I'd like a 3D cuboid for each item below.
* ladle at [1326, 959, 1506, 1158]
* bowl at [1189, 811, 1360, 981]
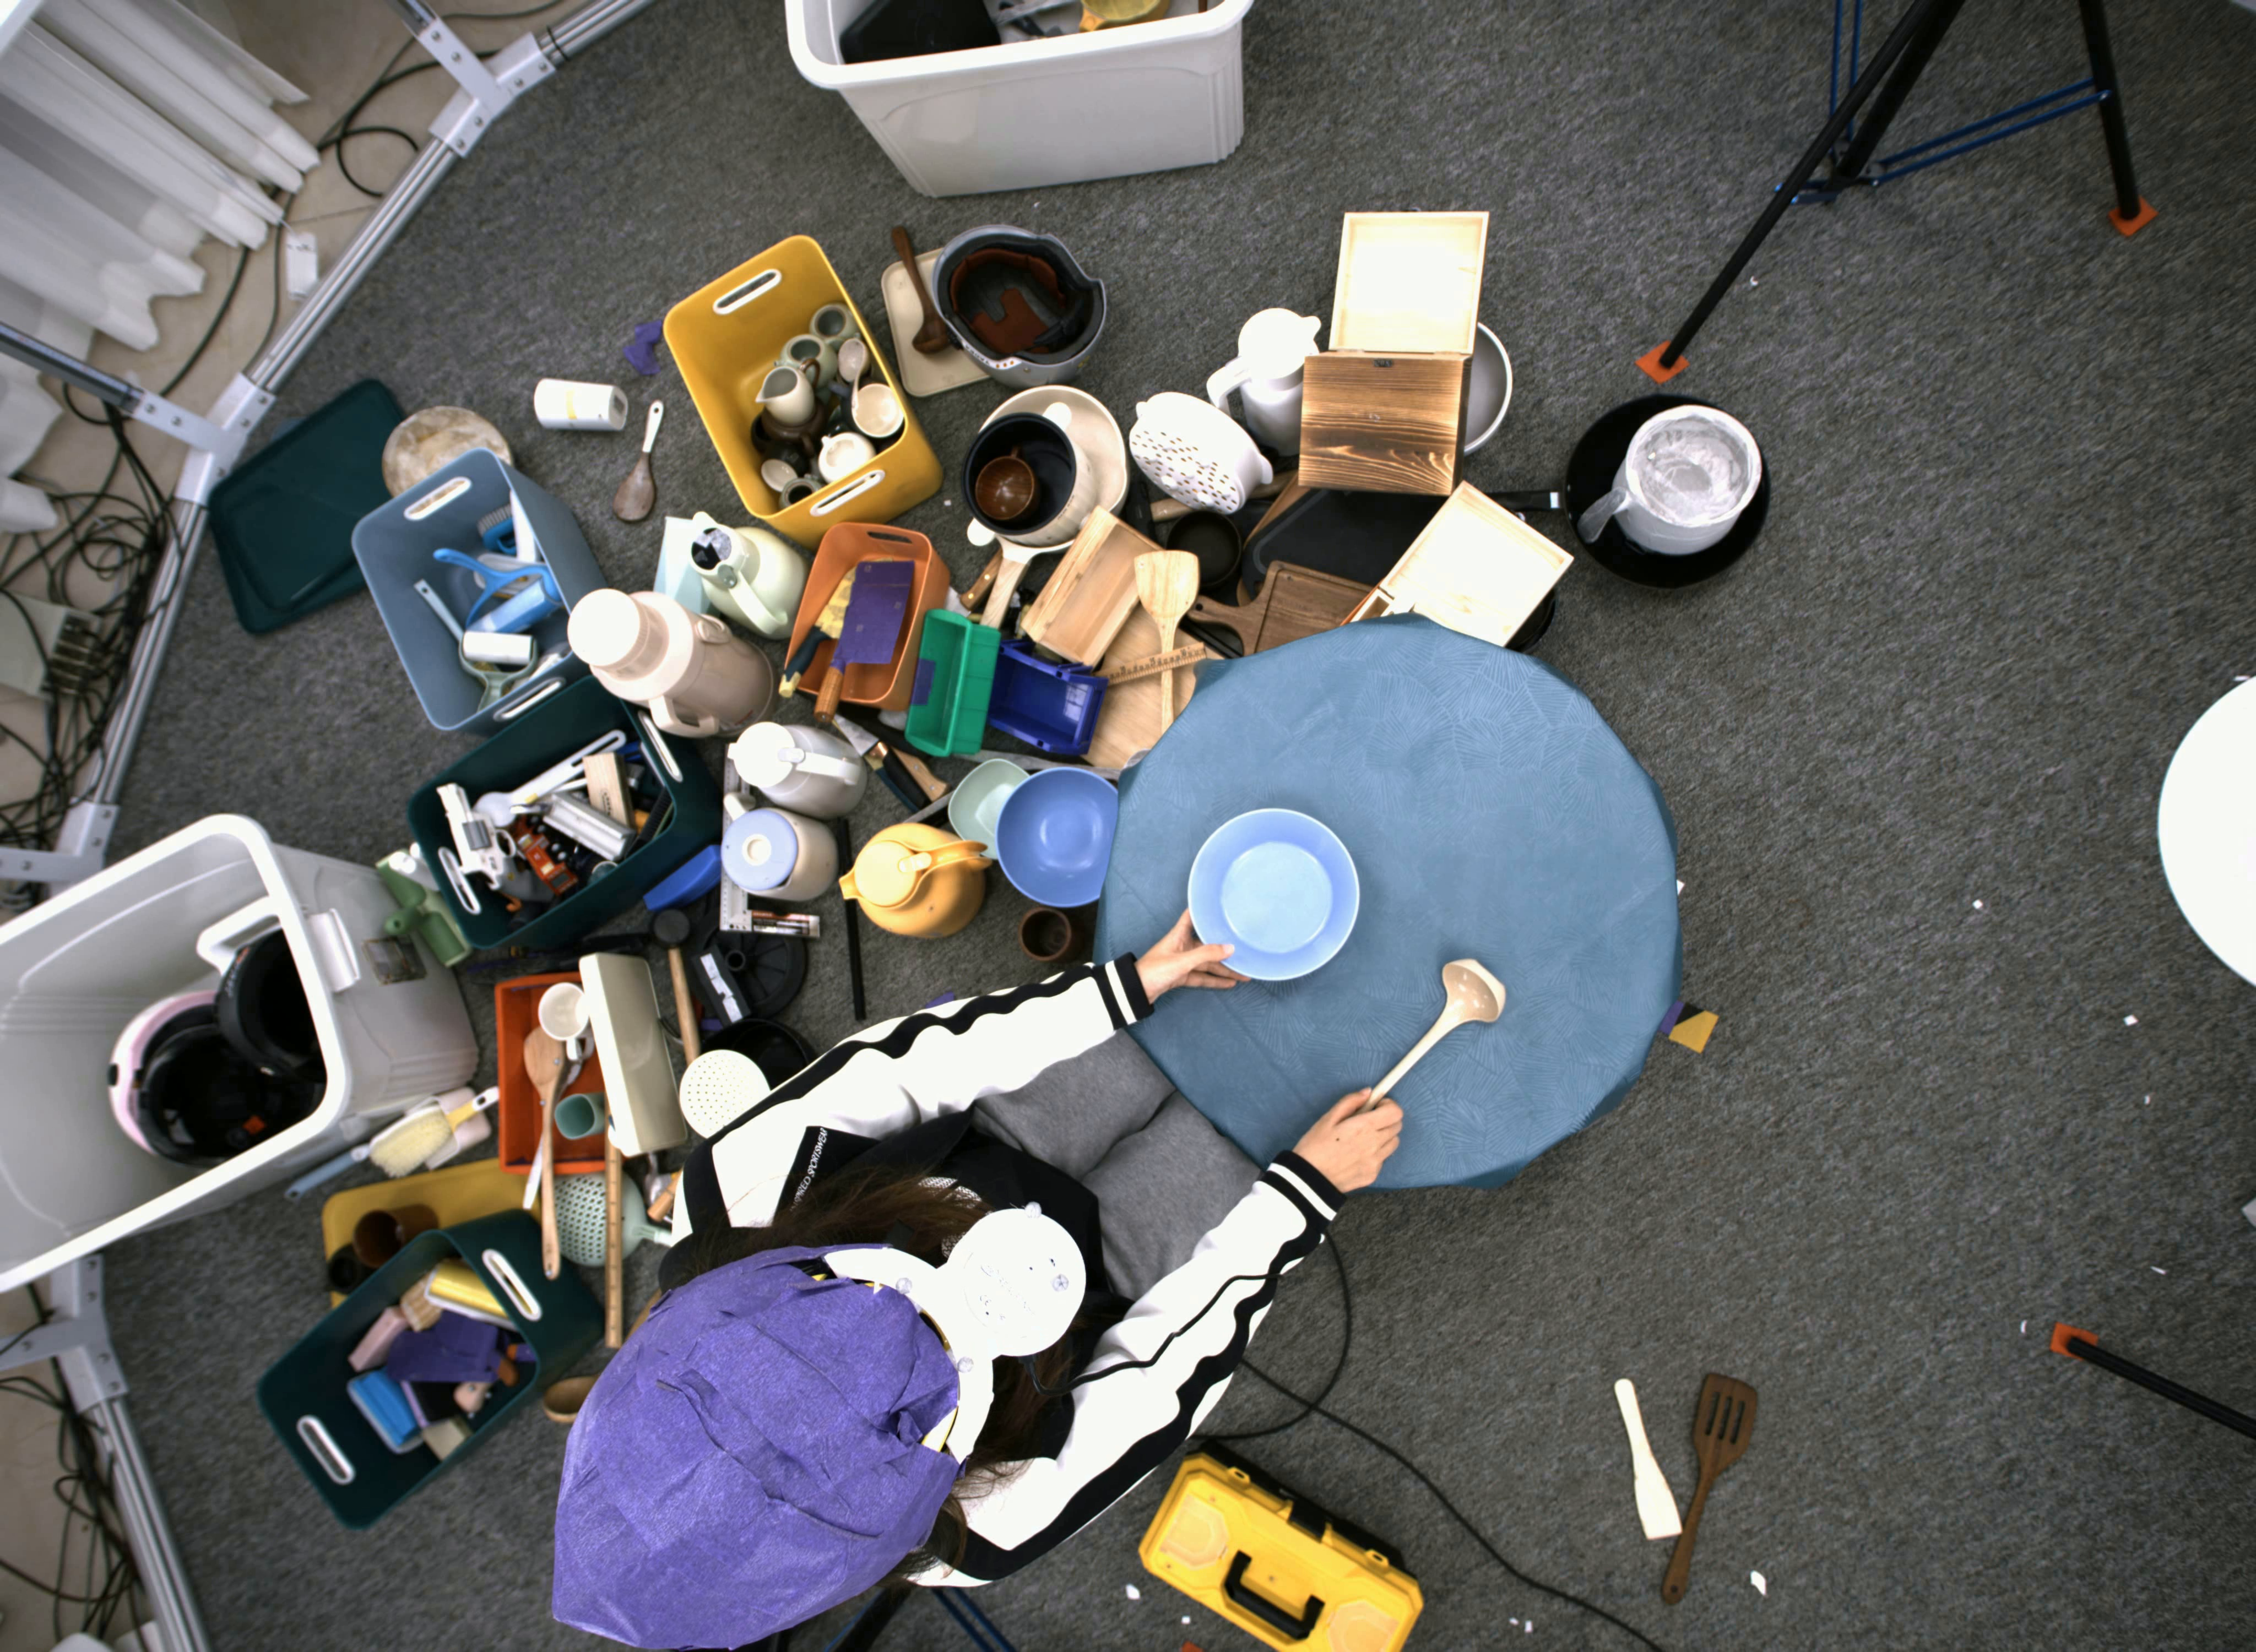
[{"bbox_3d":[0.285,0.241,1.409,0.071,0.073,0.255,42,93,18],"label":"ladle"},{"bbox_3d":[0.154,0.074,1.446,0.177,0.070,0.175,-1,86,11],"label":"bowl"}]
